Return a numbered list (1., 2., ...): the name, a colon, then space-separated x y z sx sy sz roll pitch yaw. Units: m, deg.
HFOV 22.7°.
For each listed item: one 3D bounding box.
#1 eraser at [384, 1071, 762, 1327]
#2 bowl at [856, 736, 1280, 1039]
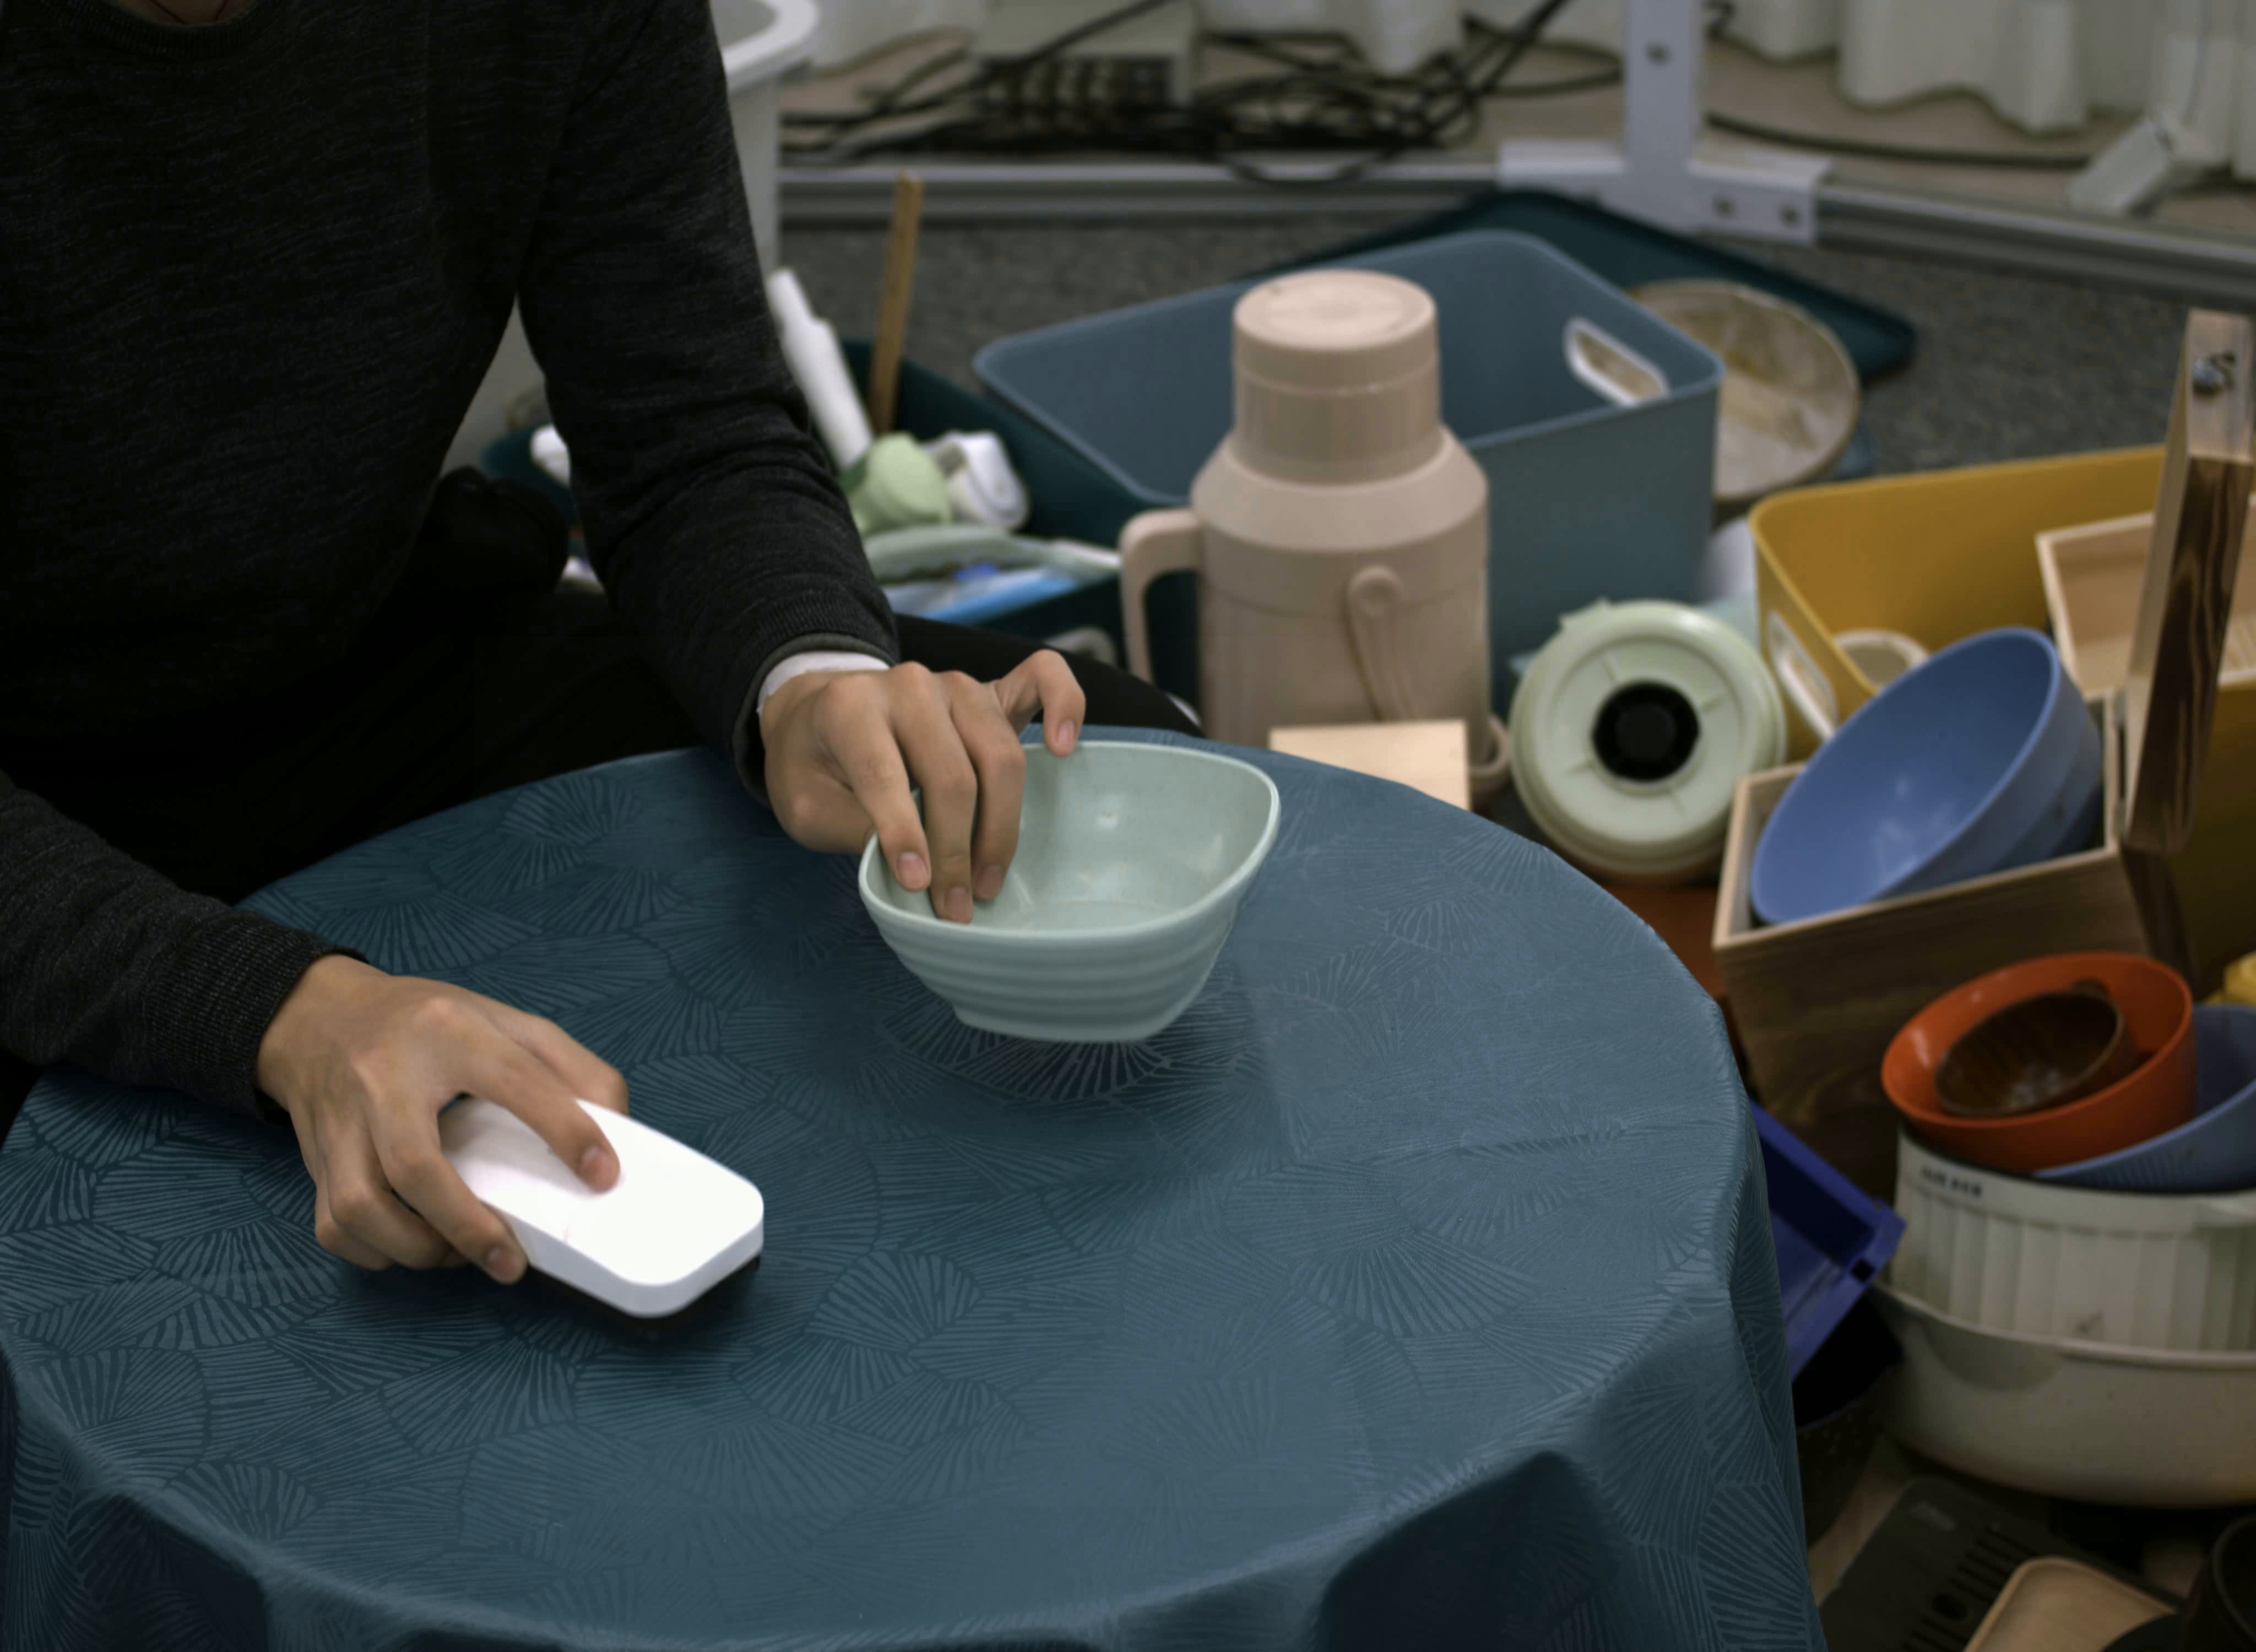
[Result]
1. eraser: -0.179 0.118 1.818 0.131 0.034 0.064 23 39 35
2. bowl: -0.018 0.027 1.924 0.150 0.058 0.154 -4 27 2
